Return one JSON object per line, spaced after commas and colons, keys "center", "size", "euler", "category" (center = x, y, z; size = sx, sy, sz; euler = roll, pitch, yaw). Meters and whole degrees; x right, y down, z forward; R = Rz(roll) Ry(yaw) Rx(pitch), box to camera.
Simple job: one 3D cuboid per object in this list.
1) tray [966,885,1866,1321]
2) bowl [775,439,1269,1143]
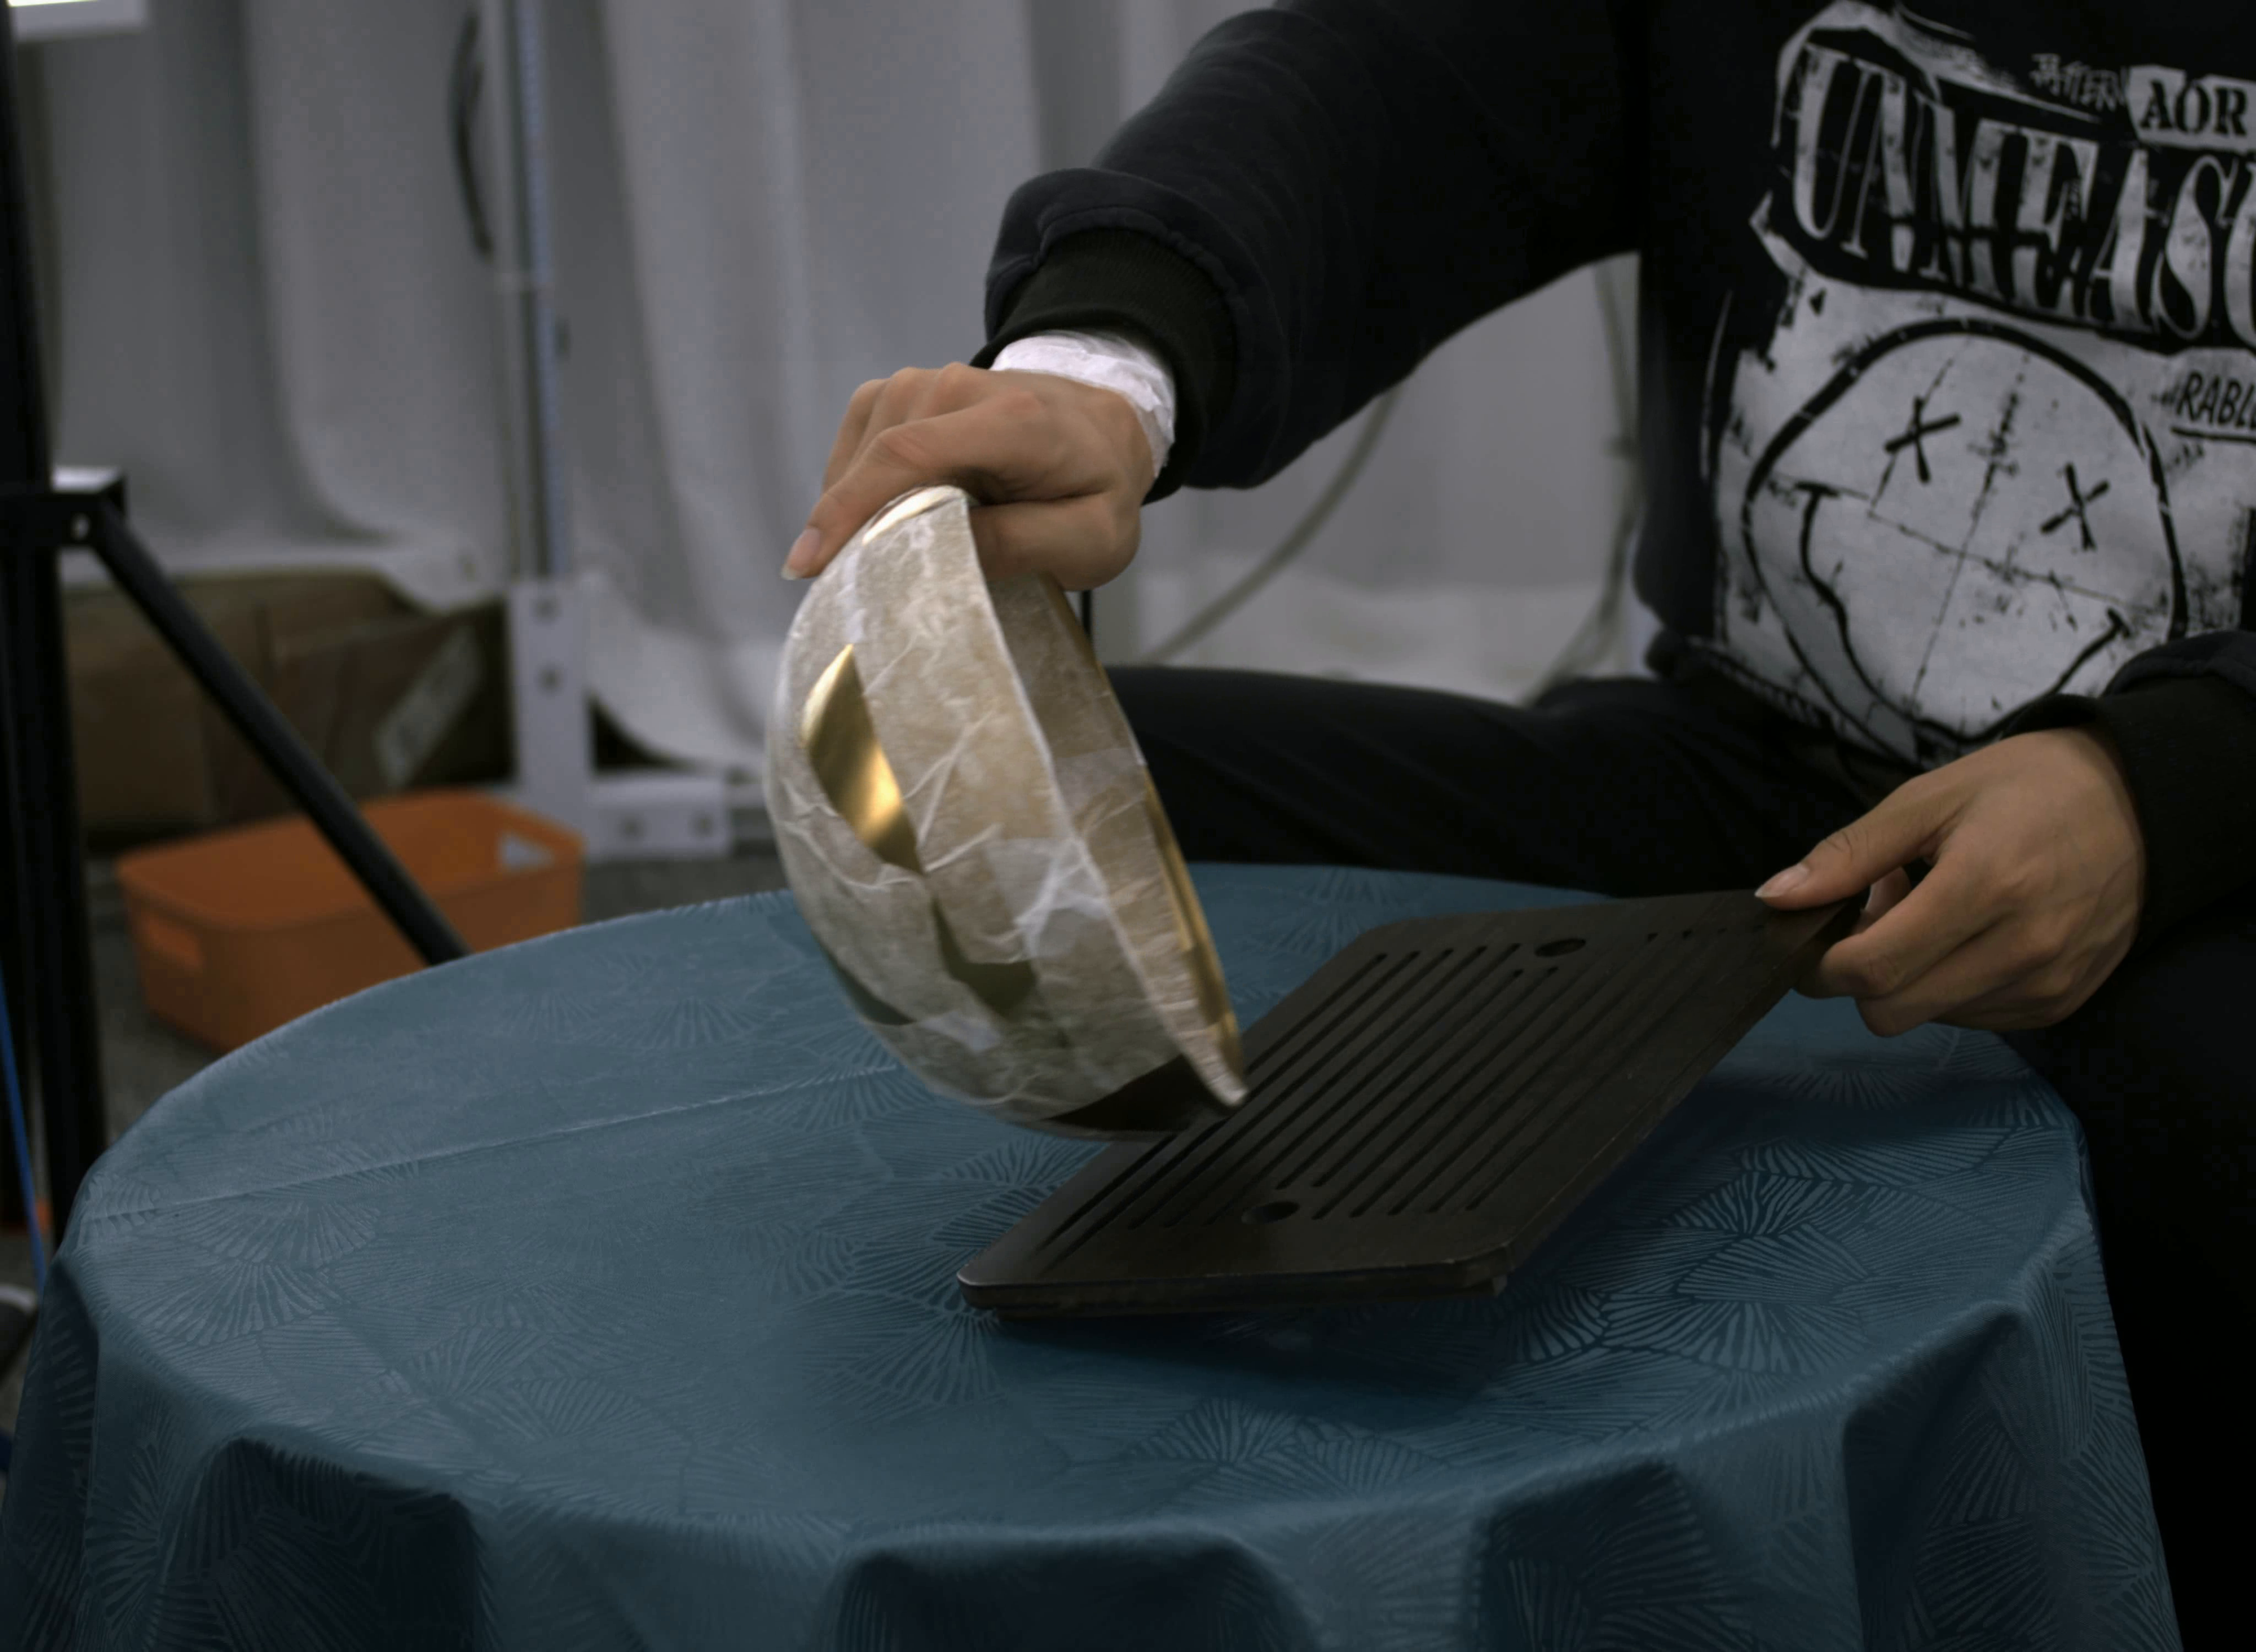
{"center": [0.091, 0.079, 1.534], "size": [0.173, 0.018, 0.301], "euler": [-5, 16, 29], "category": "tray"}
{"center": [-0.040, 0.007, 1.503], "size": [0.095, 0.213, 0.215], "euler": [-24, 14, 8], "category": "bowl"}
